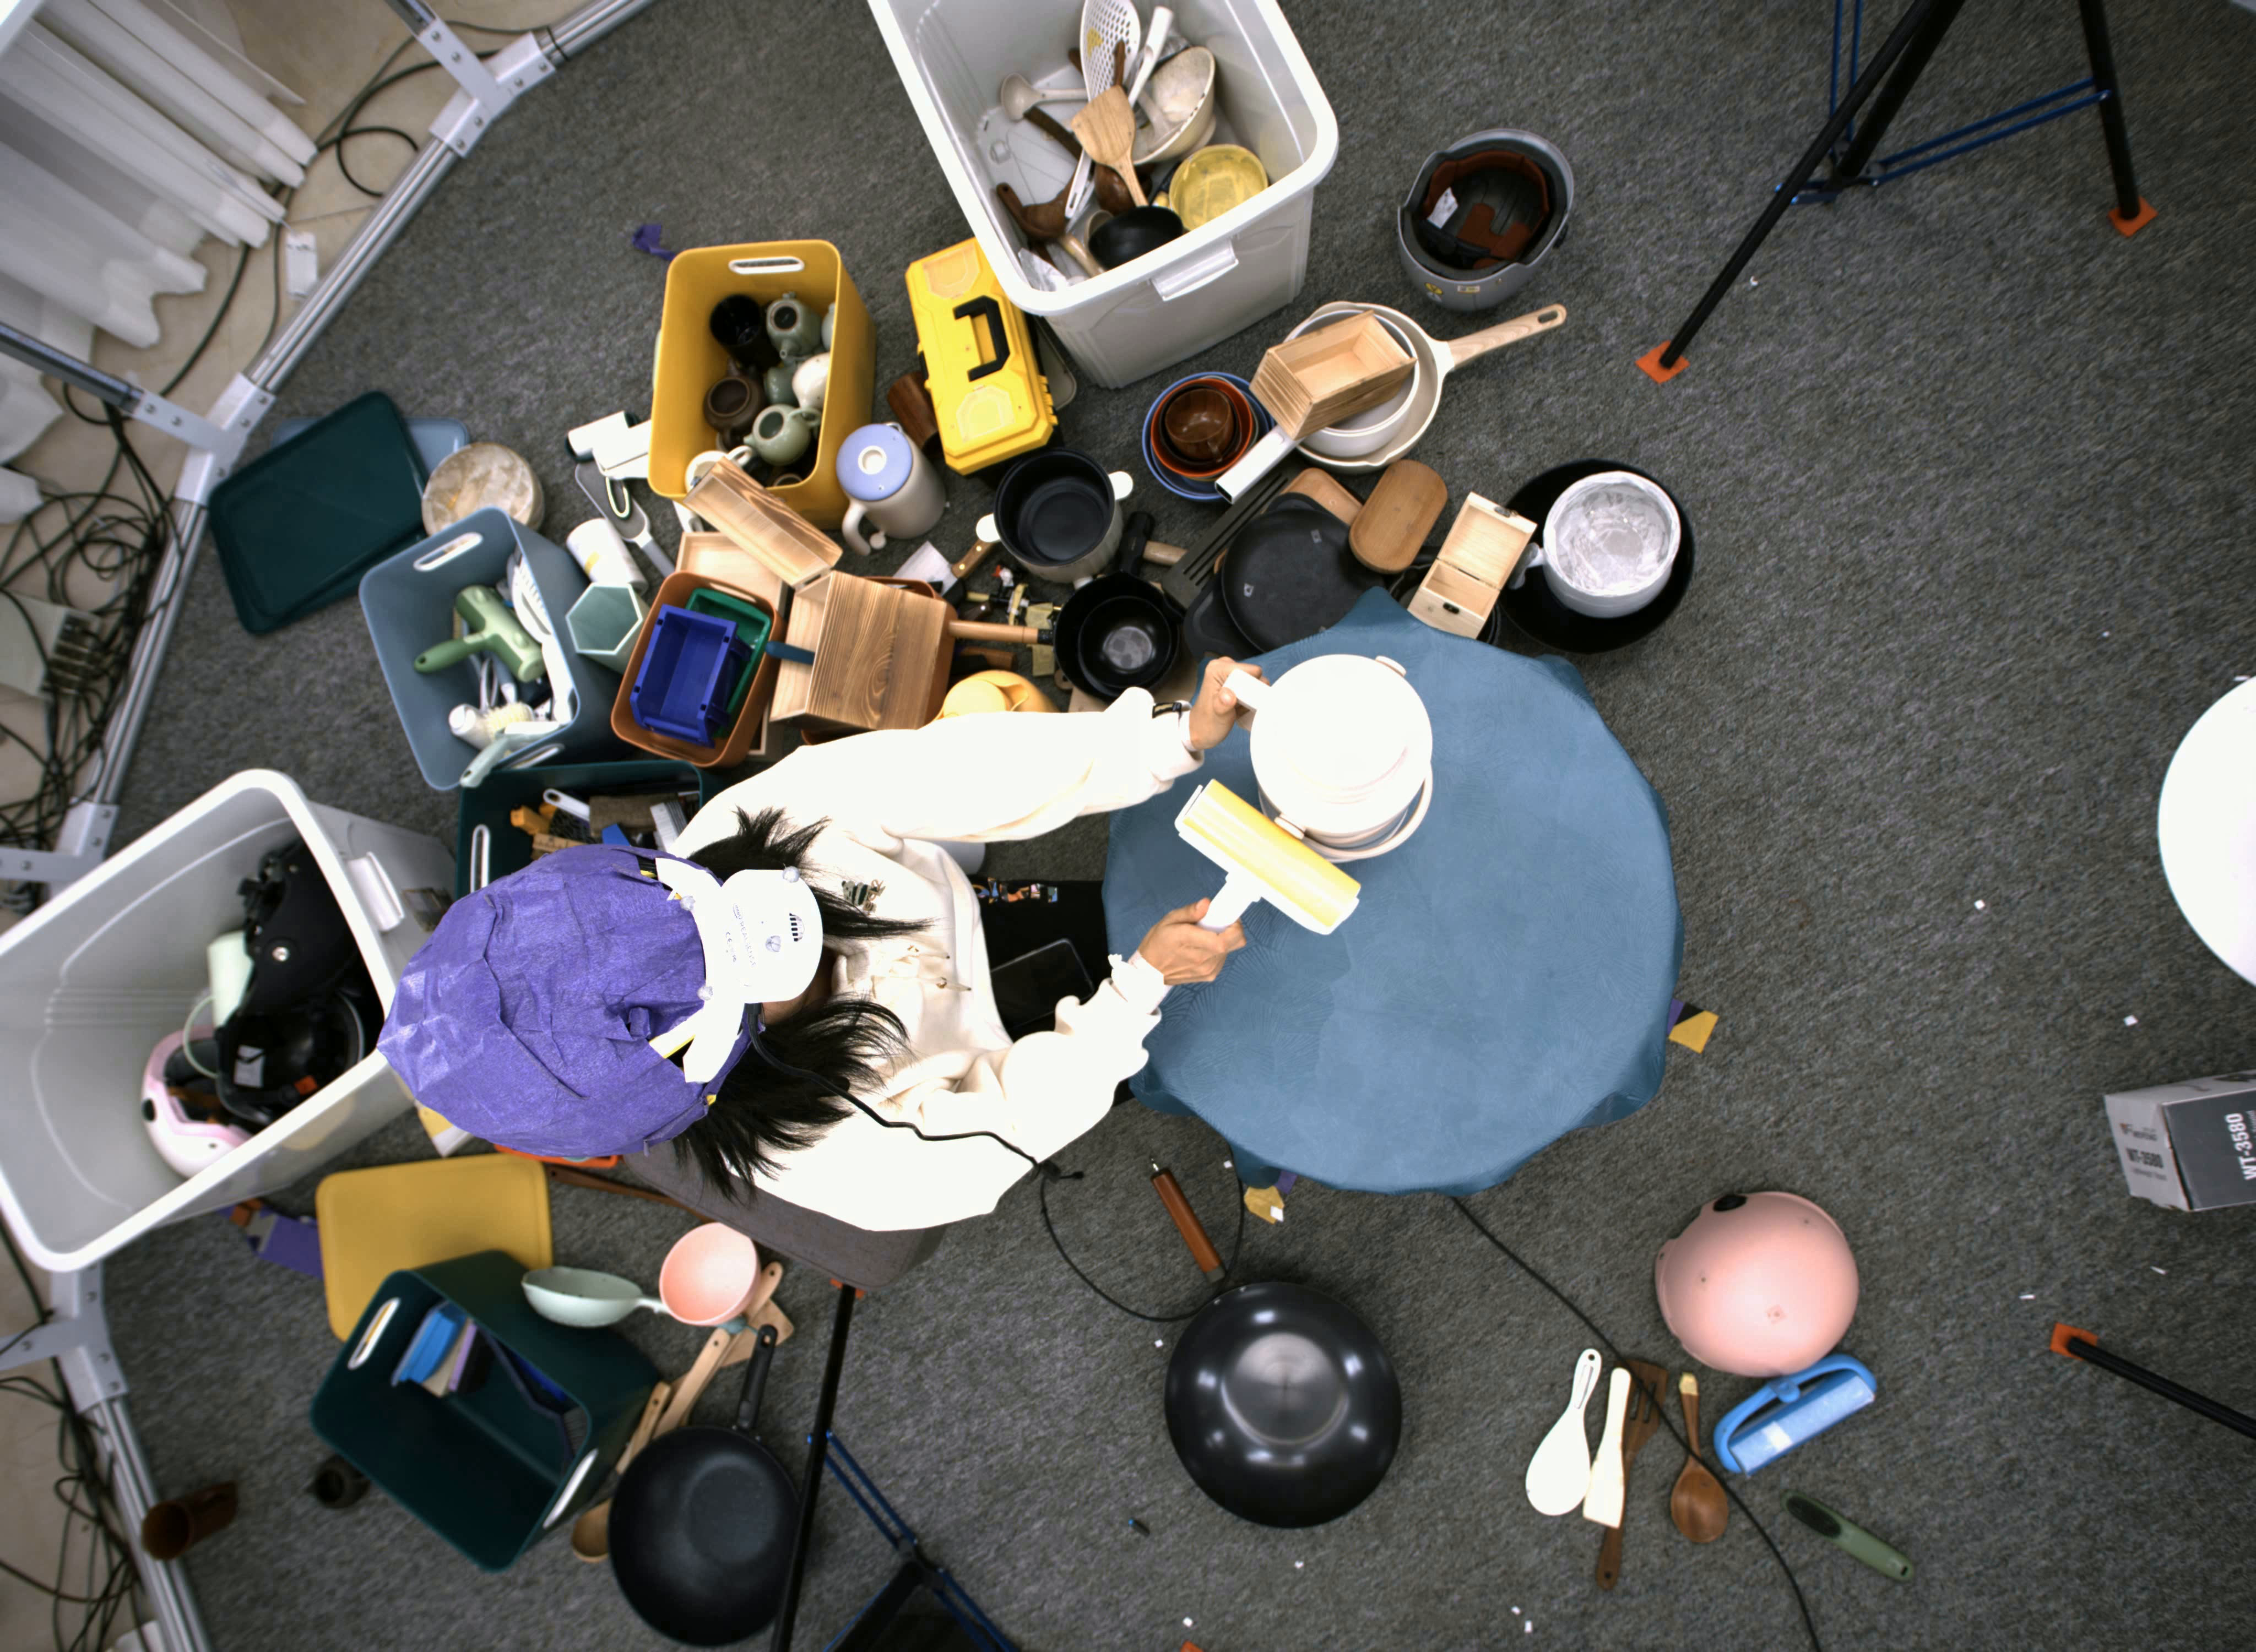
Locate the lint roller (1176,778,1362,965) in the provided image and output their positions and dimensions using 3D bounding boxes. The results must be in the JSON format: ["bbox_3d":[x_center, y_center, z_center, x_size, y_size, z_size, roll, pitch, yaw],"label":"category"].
[{"bbox_3d":[0.097,0.071,1.267,0.174,0.050,0.197,35,126,3],"label":"lint roller"}]

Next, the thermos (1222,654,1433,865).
[{"bbox_3d":[0.184,-0.069,1.279,0.206,0.407,0.175,32,89,10],"label":"thermos"}]
